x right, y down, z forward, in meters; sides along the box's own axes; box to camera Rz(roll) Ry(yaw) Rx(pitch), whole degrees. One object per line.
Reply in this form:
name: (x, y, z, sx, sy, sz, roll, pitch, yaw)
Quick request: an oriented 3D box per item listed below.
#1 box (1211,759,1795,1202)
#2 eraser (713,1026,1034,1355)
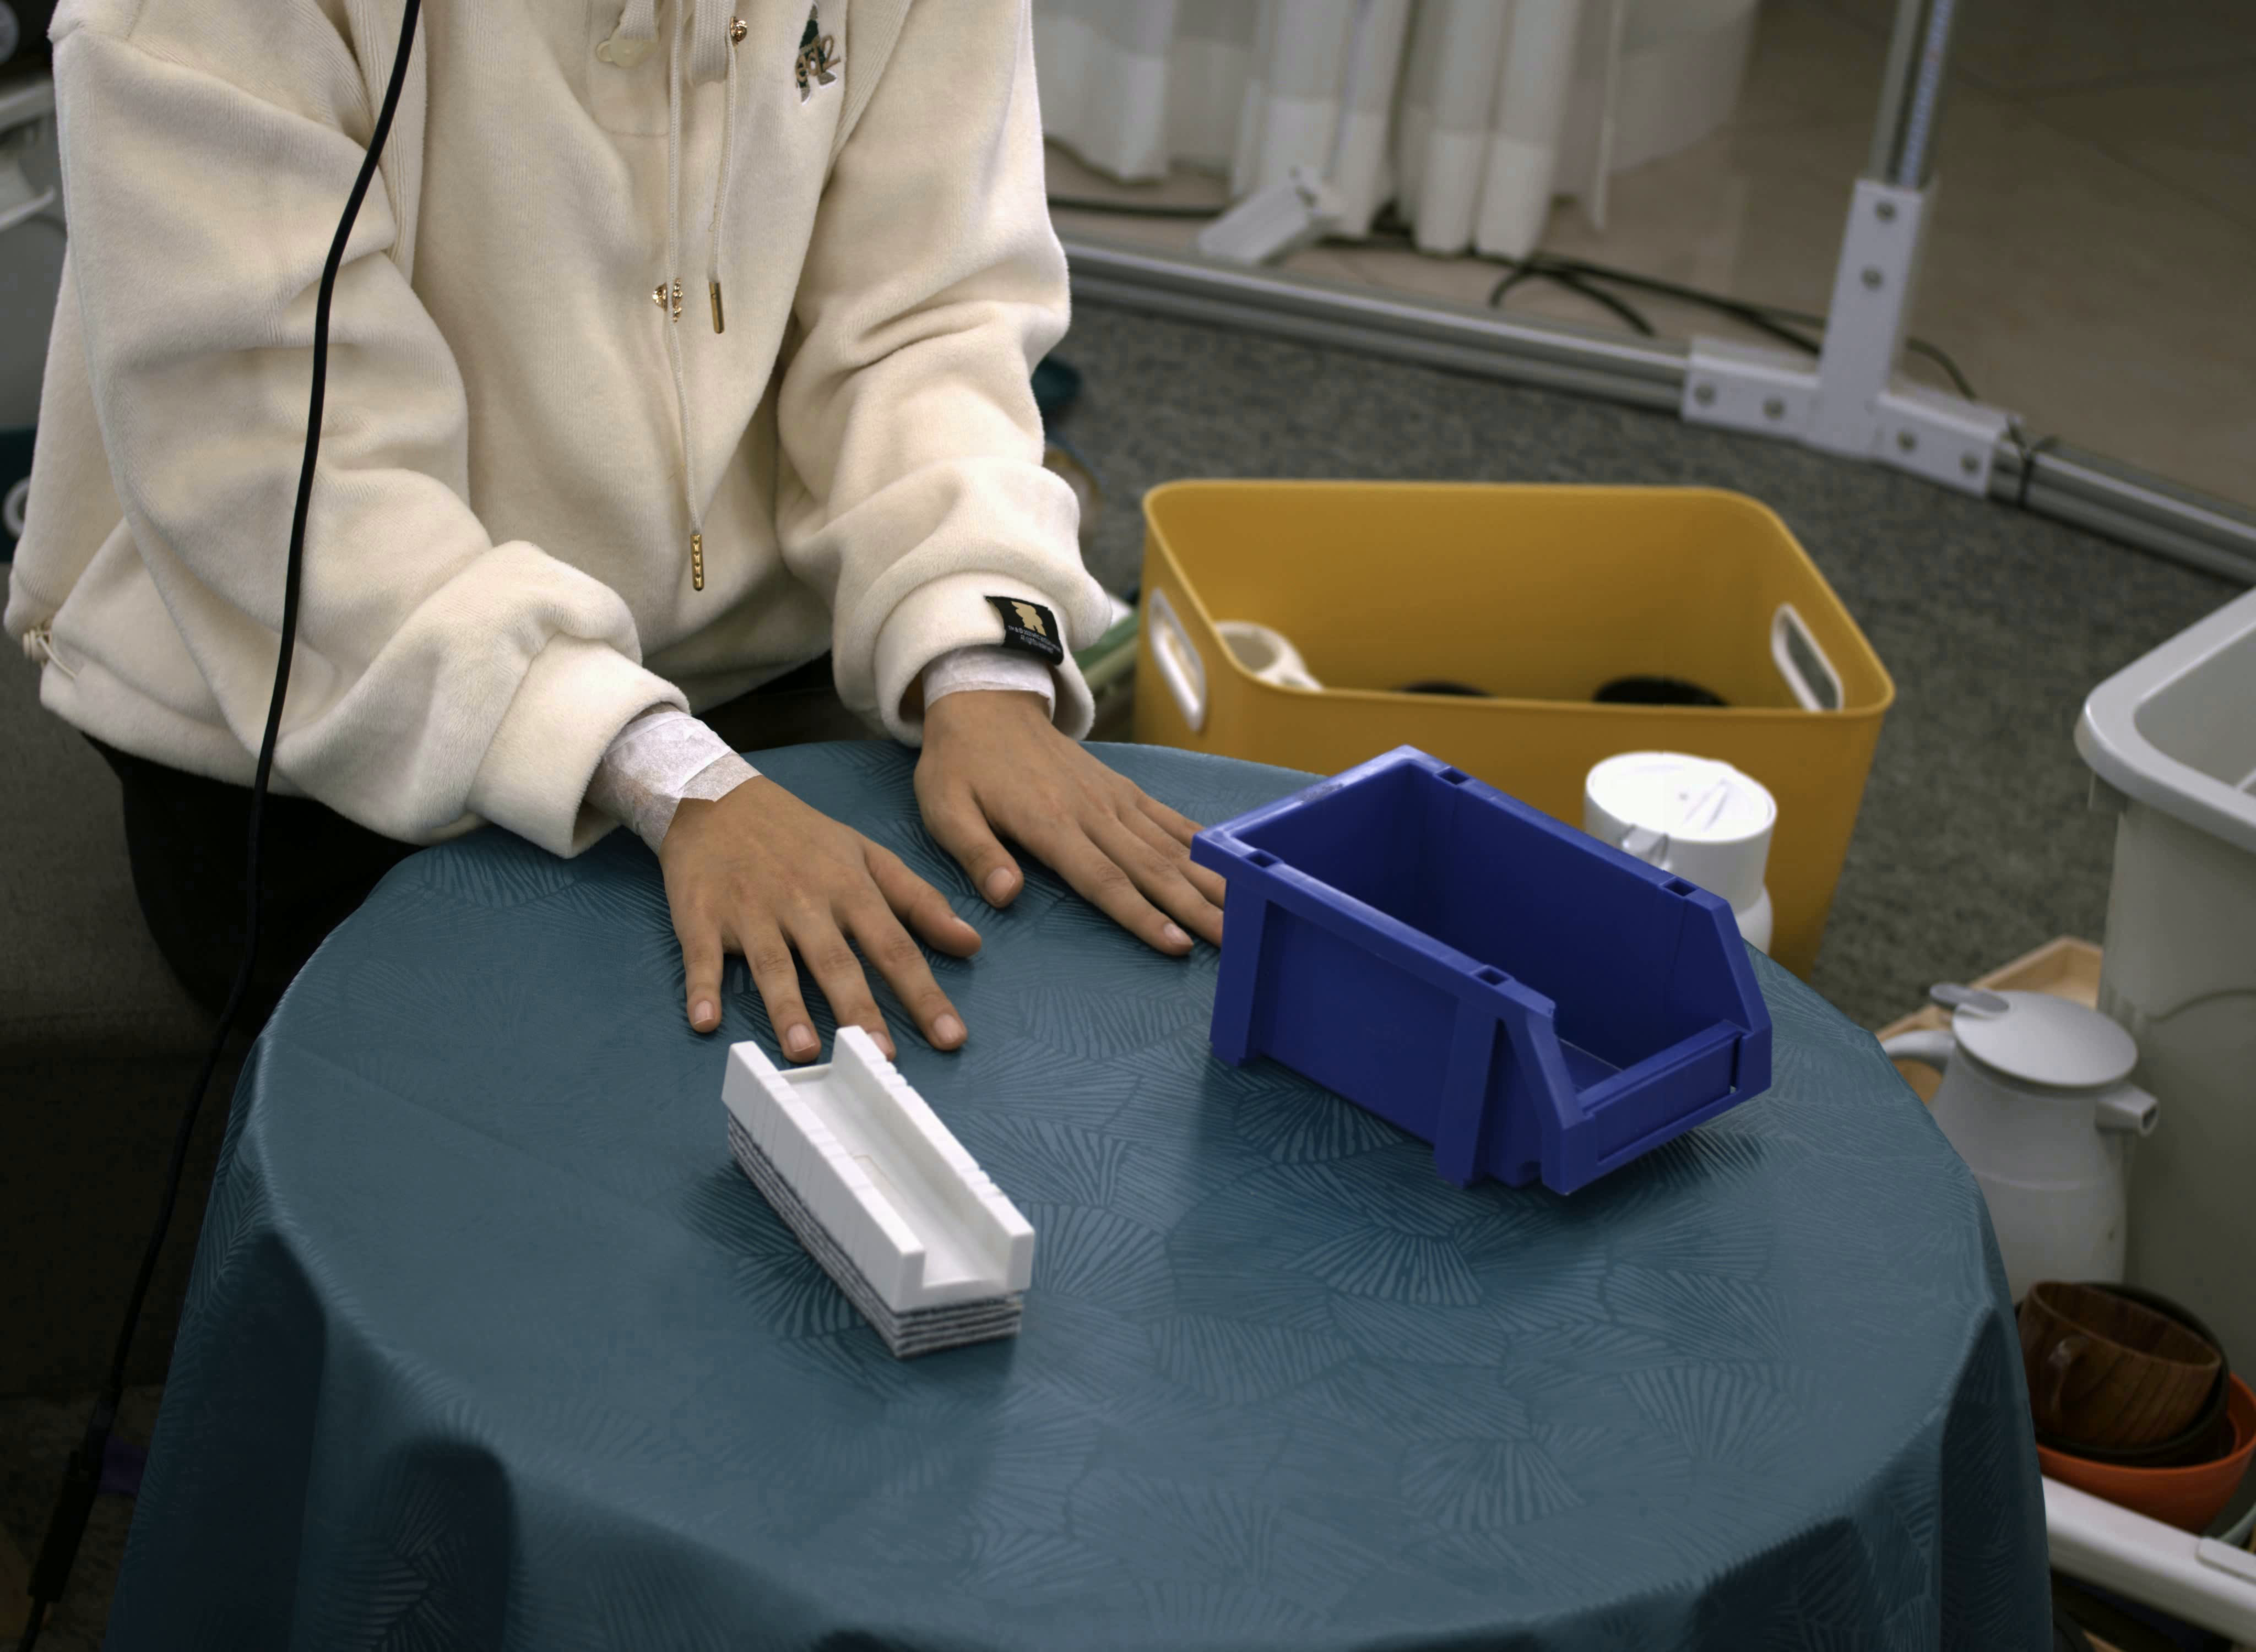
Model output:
box: (0.132, 0.058, 1.871, 0.181, 0.081, 0.124, 26, 33, 37)
eraser: (-0.085, 0.118, 1.741, 0.049, 0.046, 0.135, -11, 33, -28)
